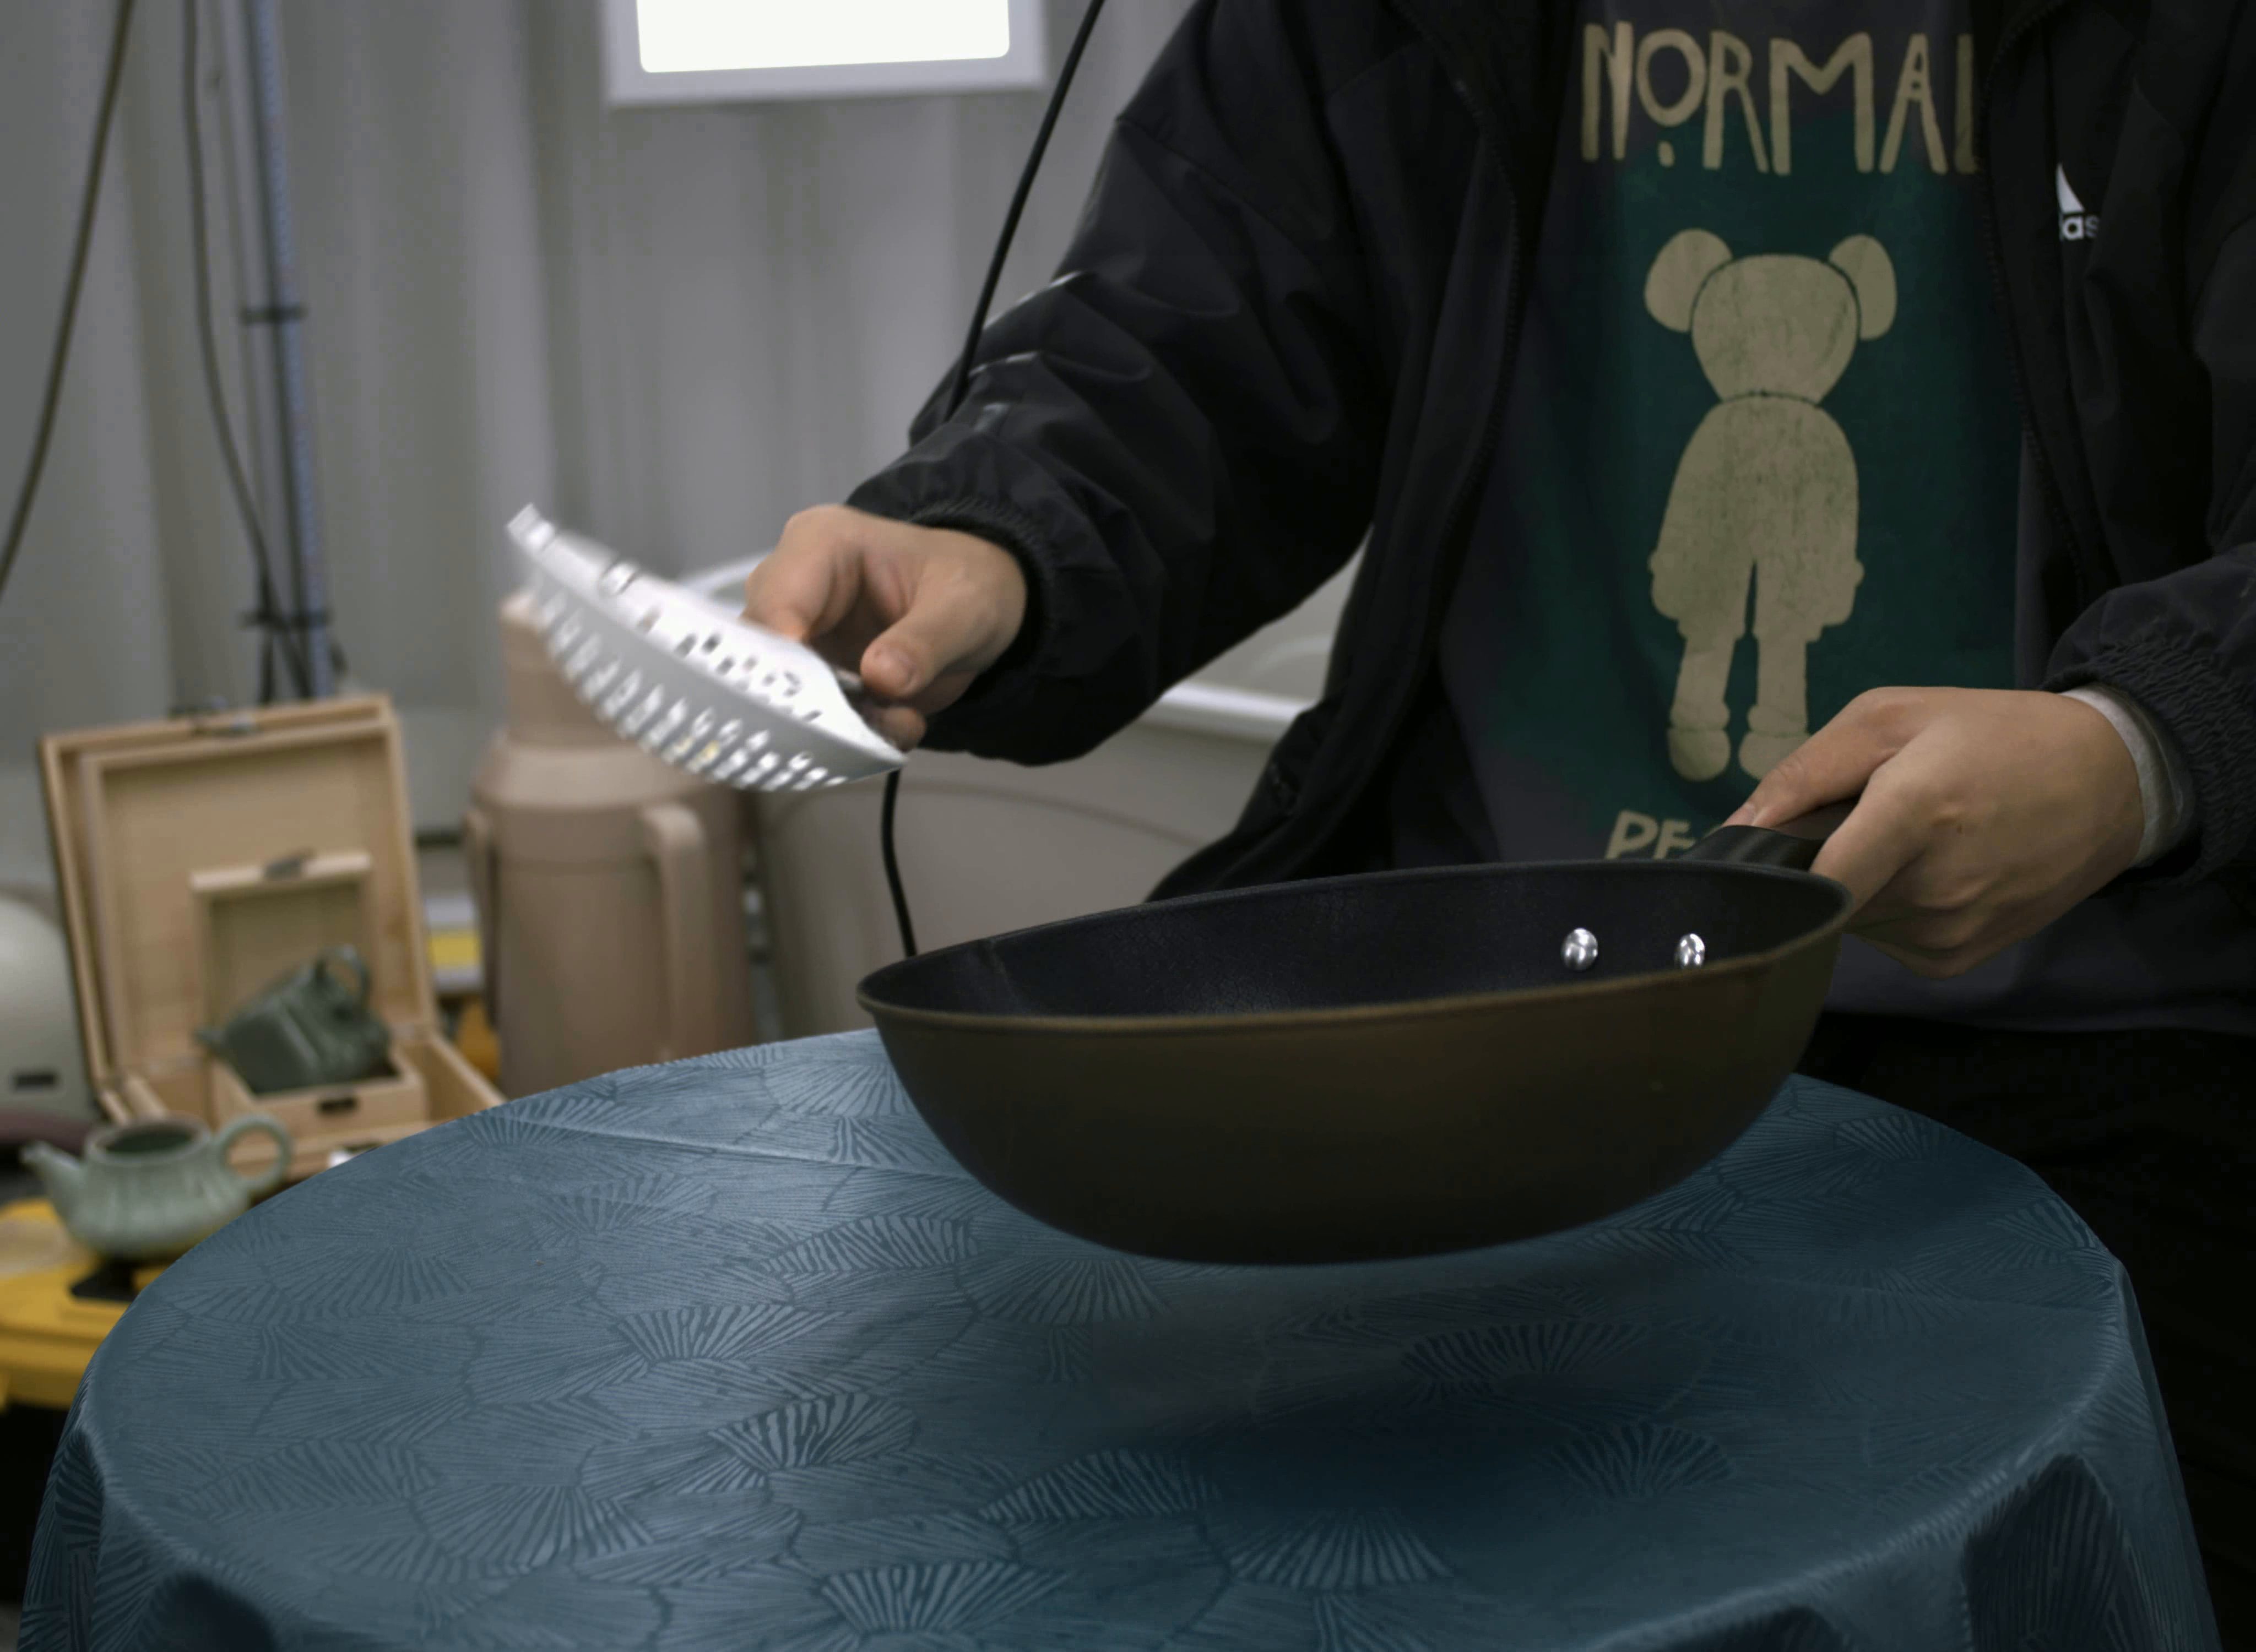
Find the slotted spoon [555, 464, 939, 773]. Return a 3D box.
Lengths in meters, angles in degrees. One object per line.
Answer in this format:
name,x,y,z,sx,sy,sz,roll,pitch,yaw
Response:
slotted spoon,-0.106,-0.048,1.696,0.137,0.050,0.347,36,5,6

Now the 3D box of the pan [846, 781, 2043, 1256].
pan,0.126,0.054,1.600,0.289,0.087,0.462,-1,7,43
